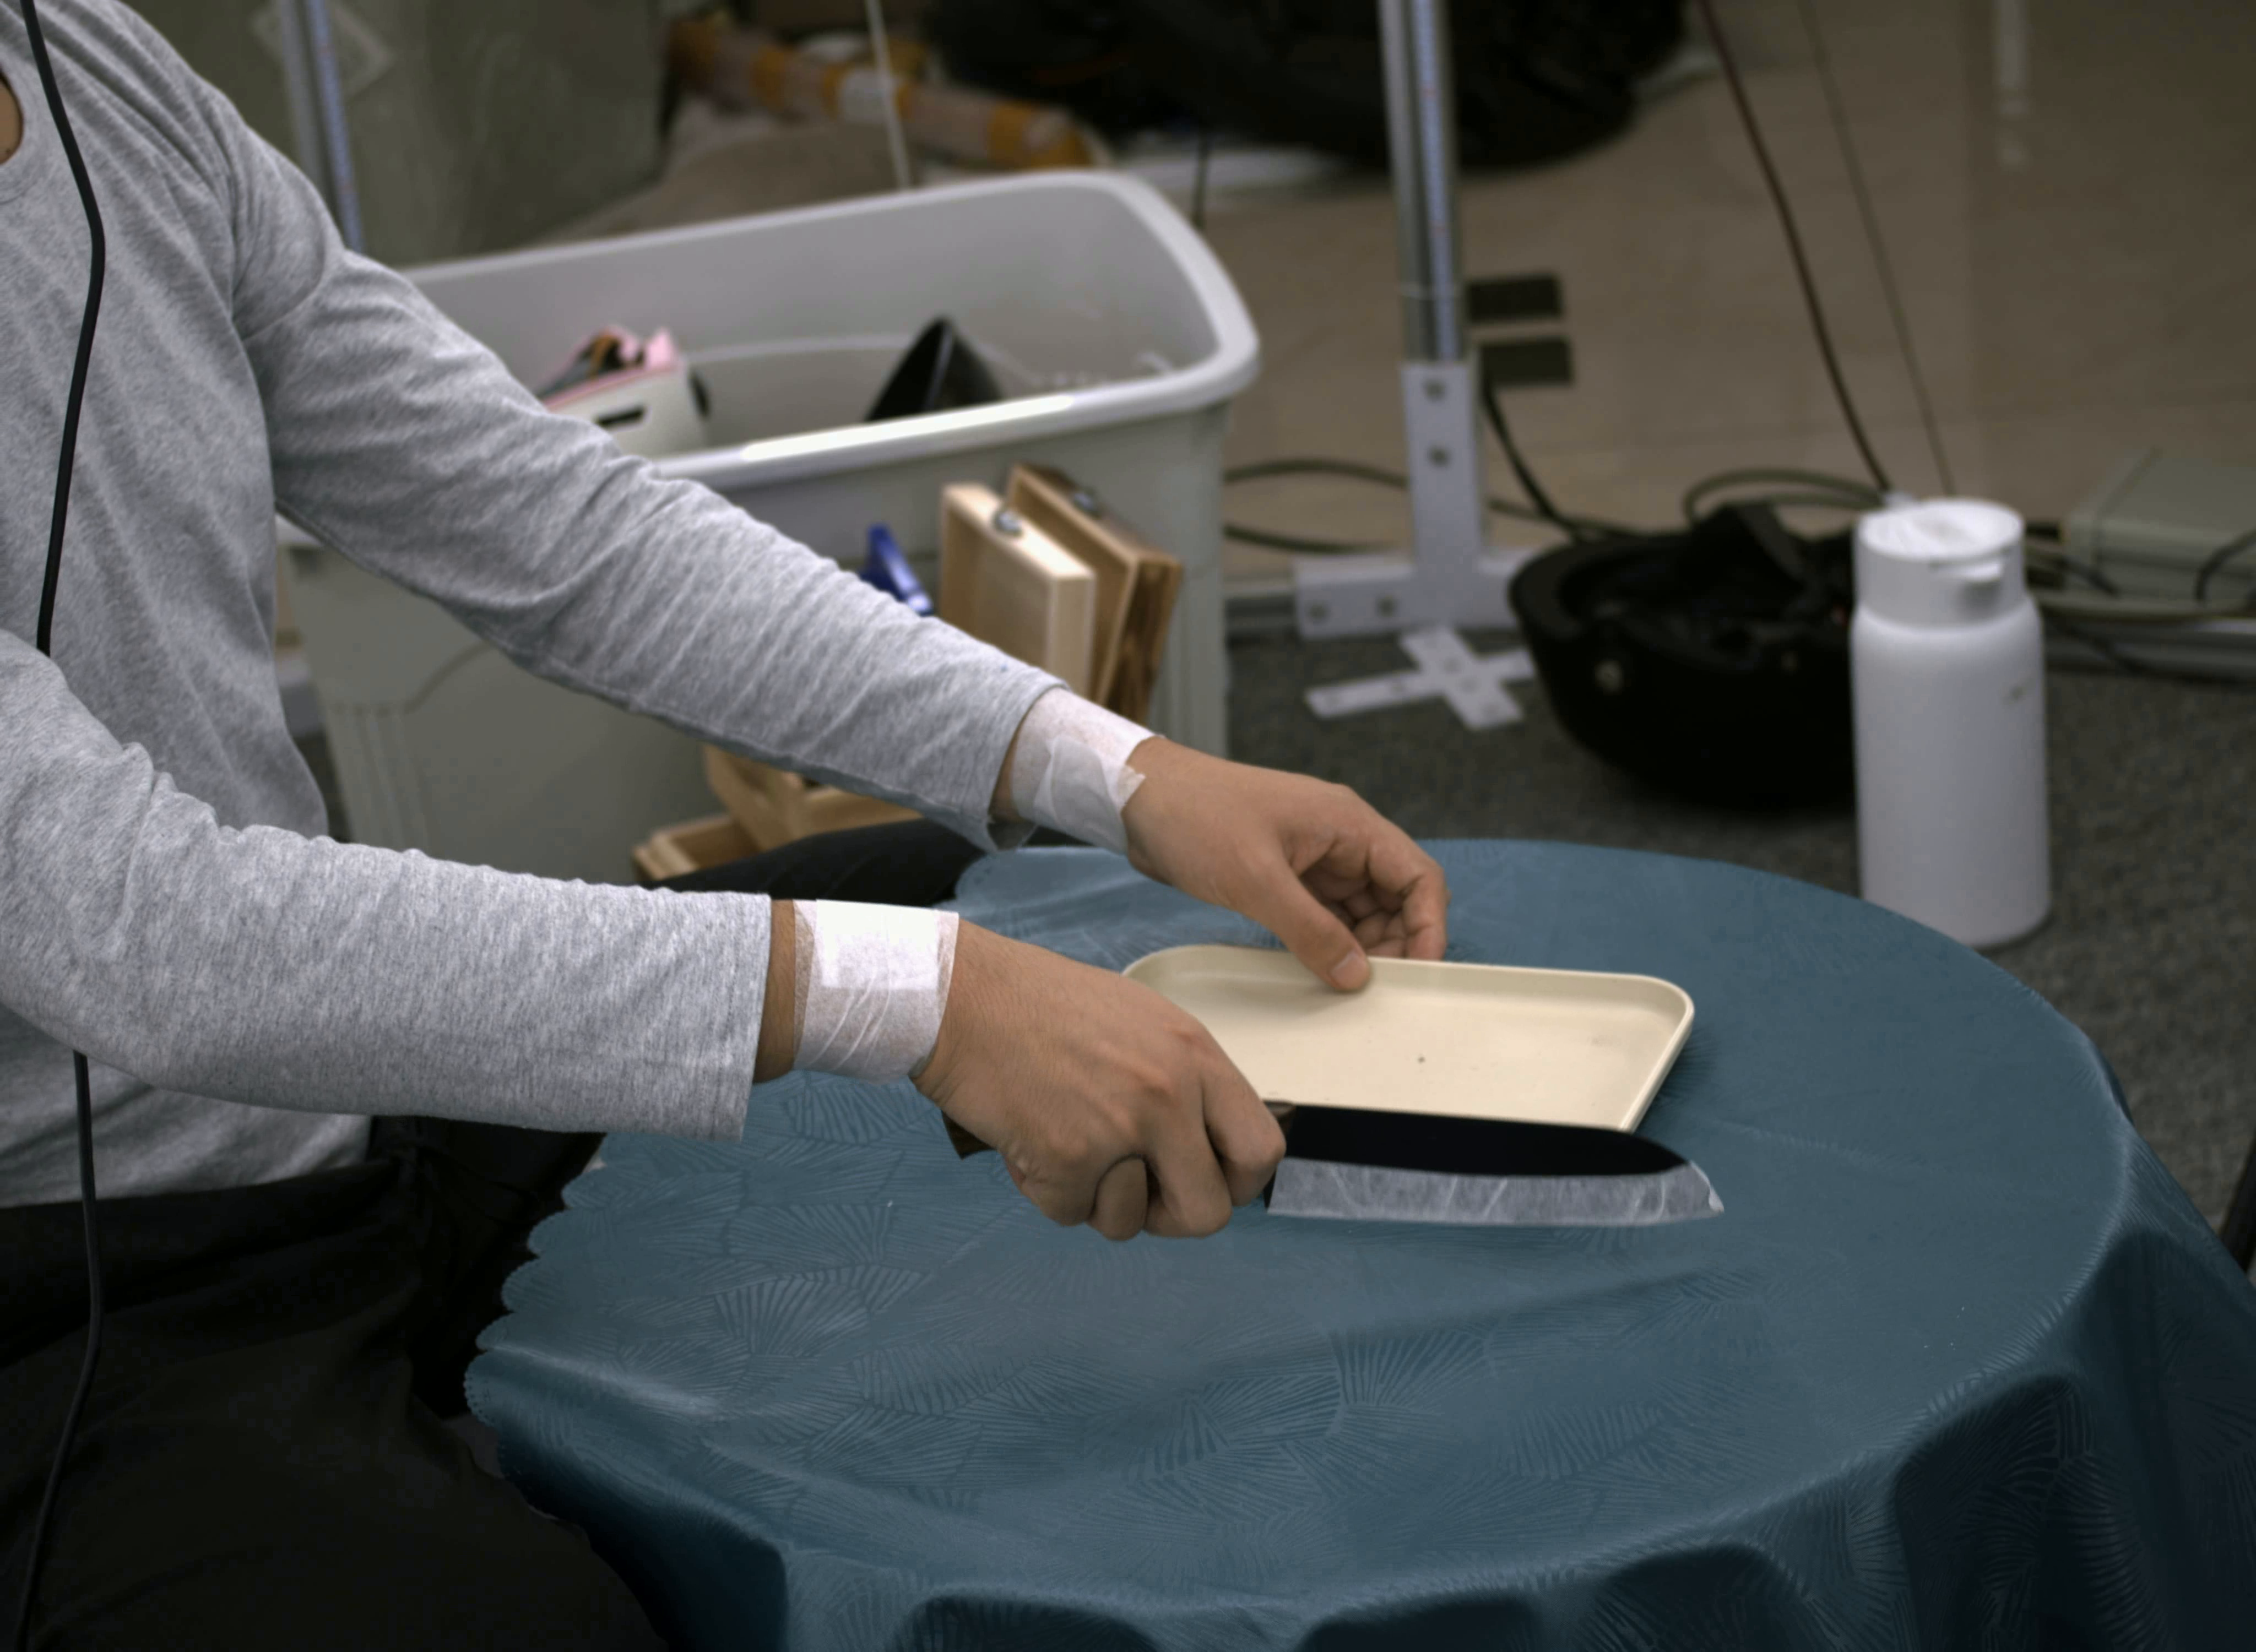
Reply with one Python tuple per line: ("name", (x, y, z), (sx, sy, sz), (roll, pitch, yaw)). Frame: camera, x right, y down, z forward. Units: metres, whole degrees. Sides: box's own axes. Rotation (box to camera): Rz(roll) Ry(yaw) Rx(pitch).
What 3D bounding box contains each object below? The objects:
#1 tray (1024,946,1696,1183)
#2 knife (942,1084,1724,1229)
("tray", (0.090, 0.097, 2.199), (0.239, 0.018, 0.169), (4, 27, 21))
("knife", (0.074, 0.119, 2.022), (0.289, 0.051, 0.020), (7, 26, -10))
